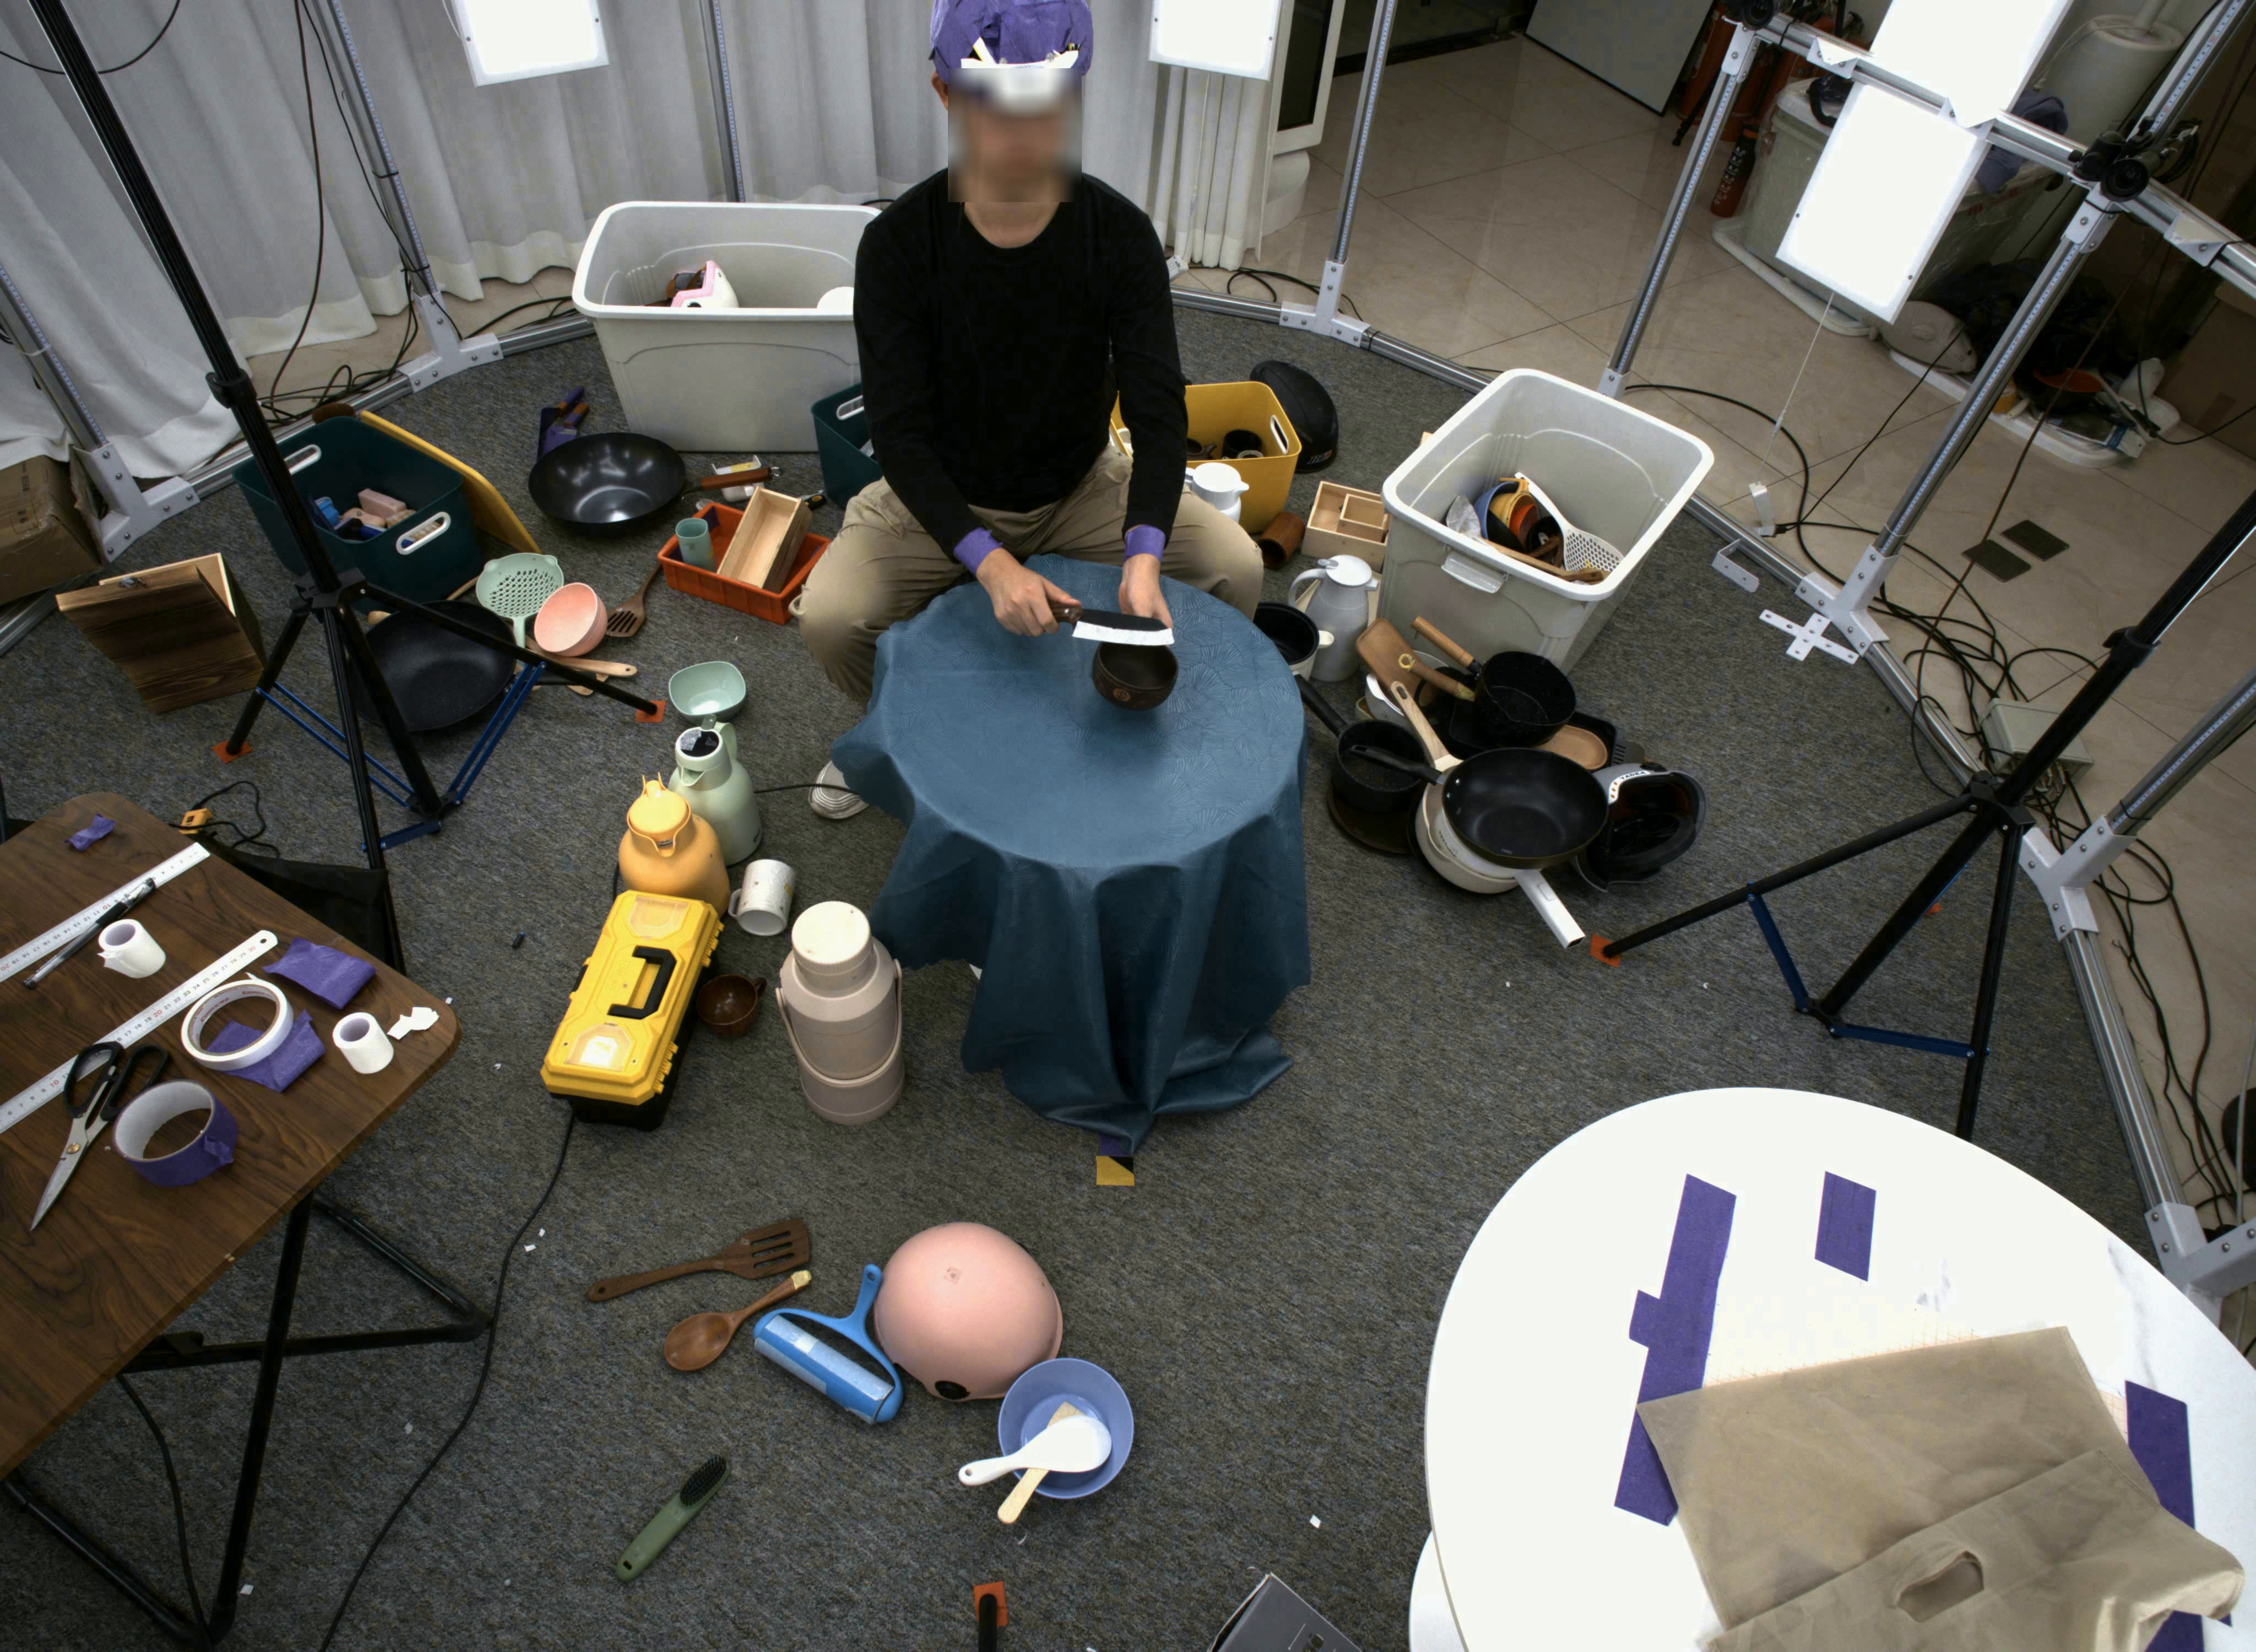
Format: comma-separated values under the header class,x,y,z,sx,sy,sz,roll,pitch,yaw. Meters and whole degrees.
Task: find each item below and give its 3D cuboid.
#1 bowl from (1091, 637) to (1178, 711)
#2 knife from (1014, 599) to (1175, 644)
class,x,y,z,sx,sy,sz,roll,pitch,yaw
bowl,0.005,-0.204,1.767,0.117,0.068,0.121,8,46,-9
knife,-0.050,-0.282,1.774,0.292,0.019,0.050,17,81,36
